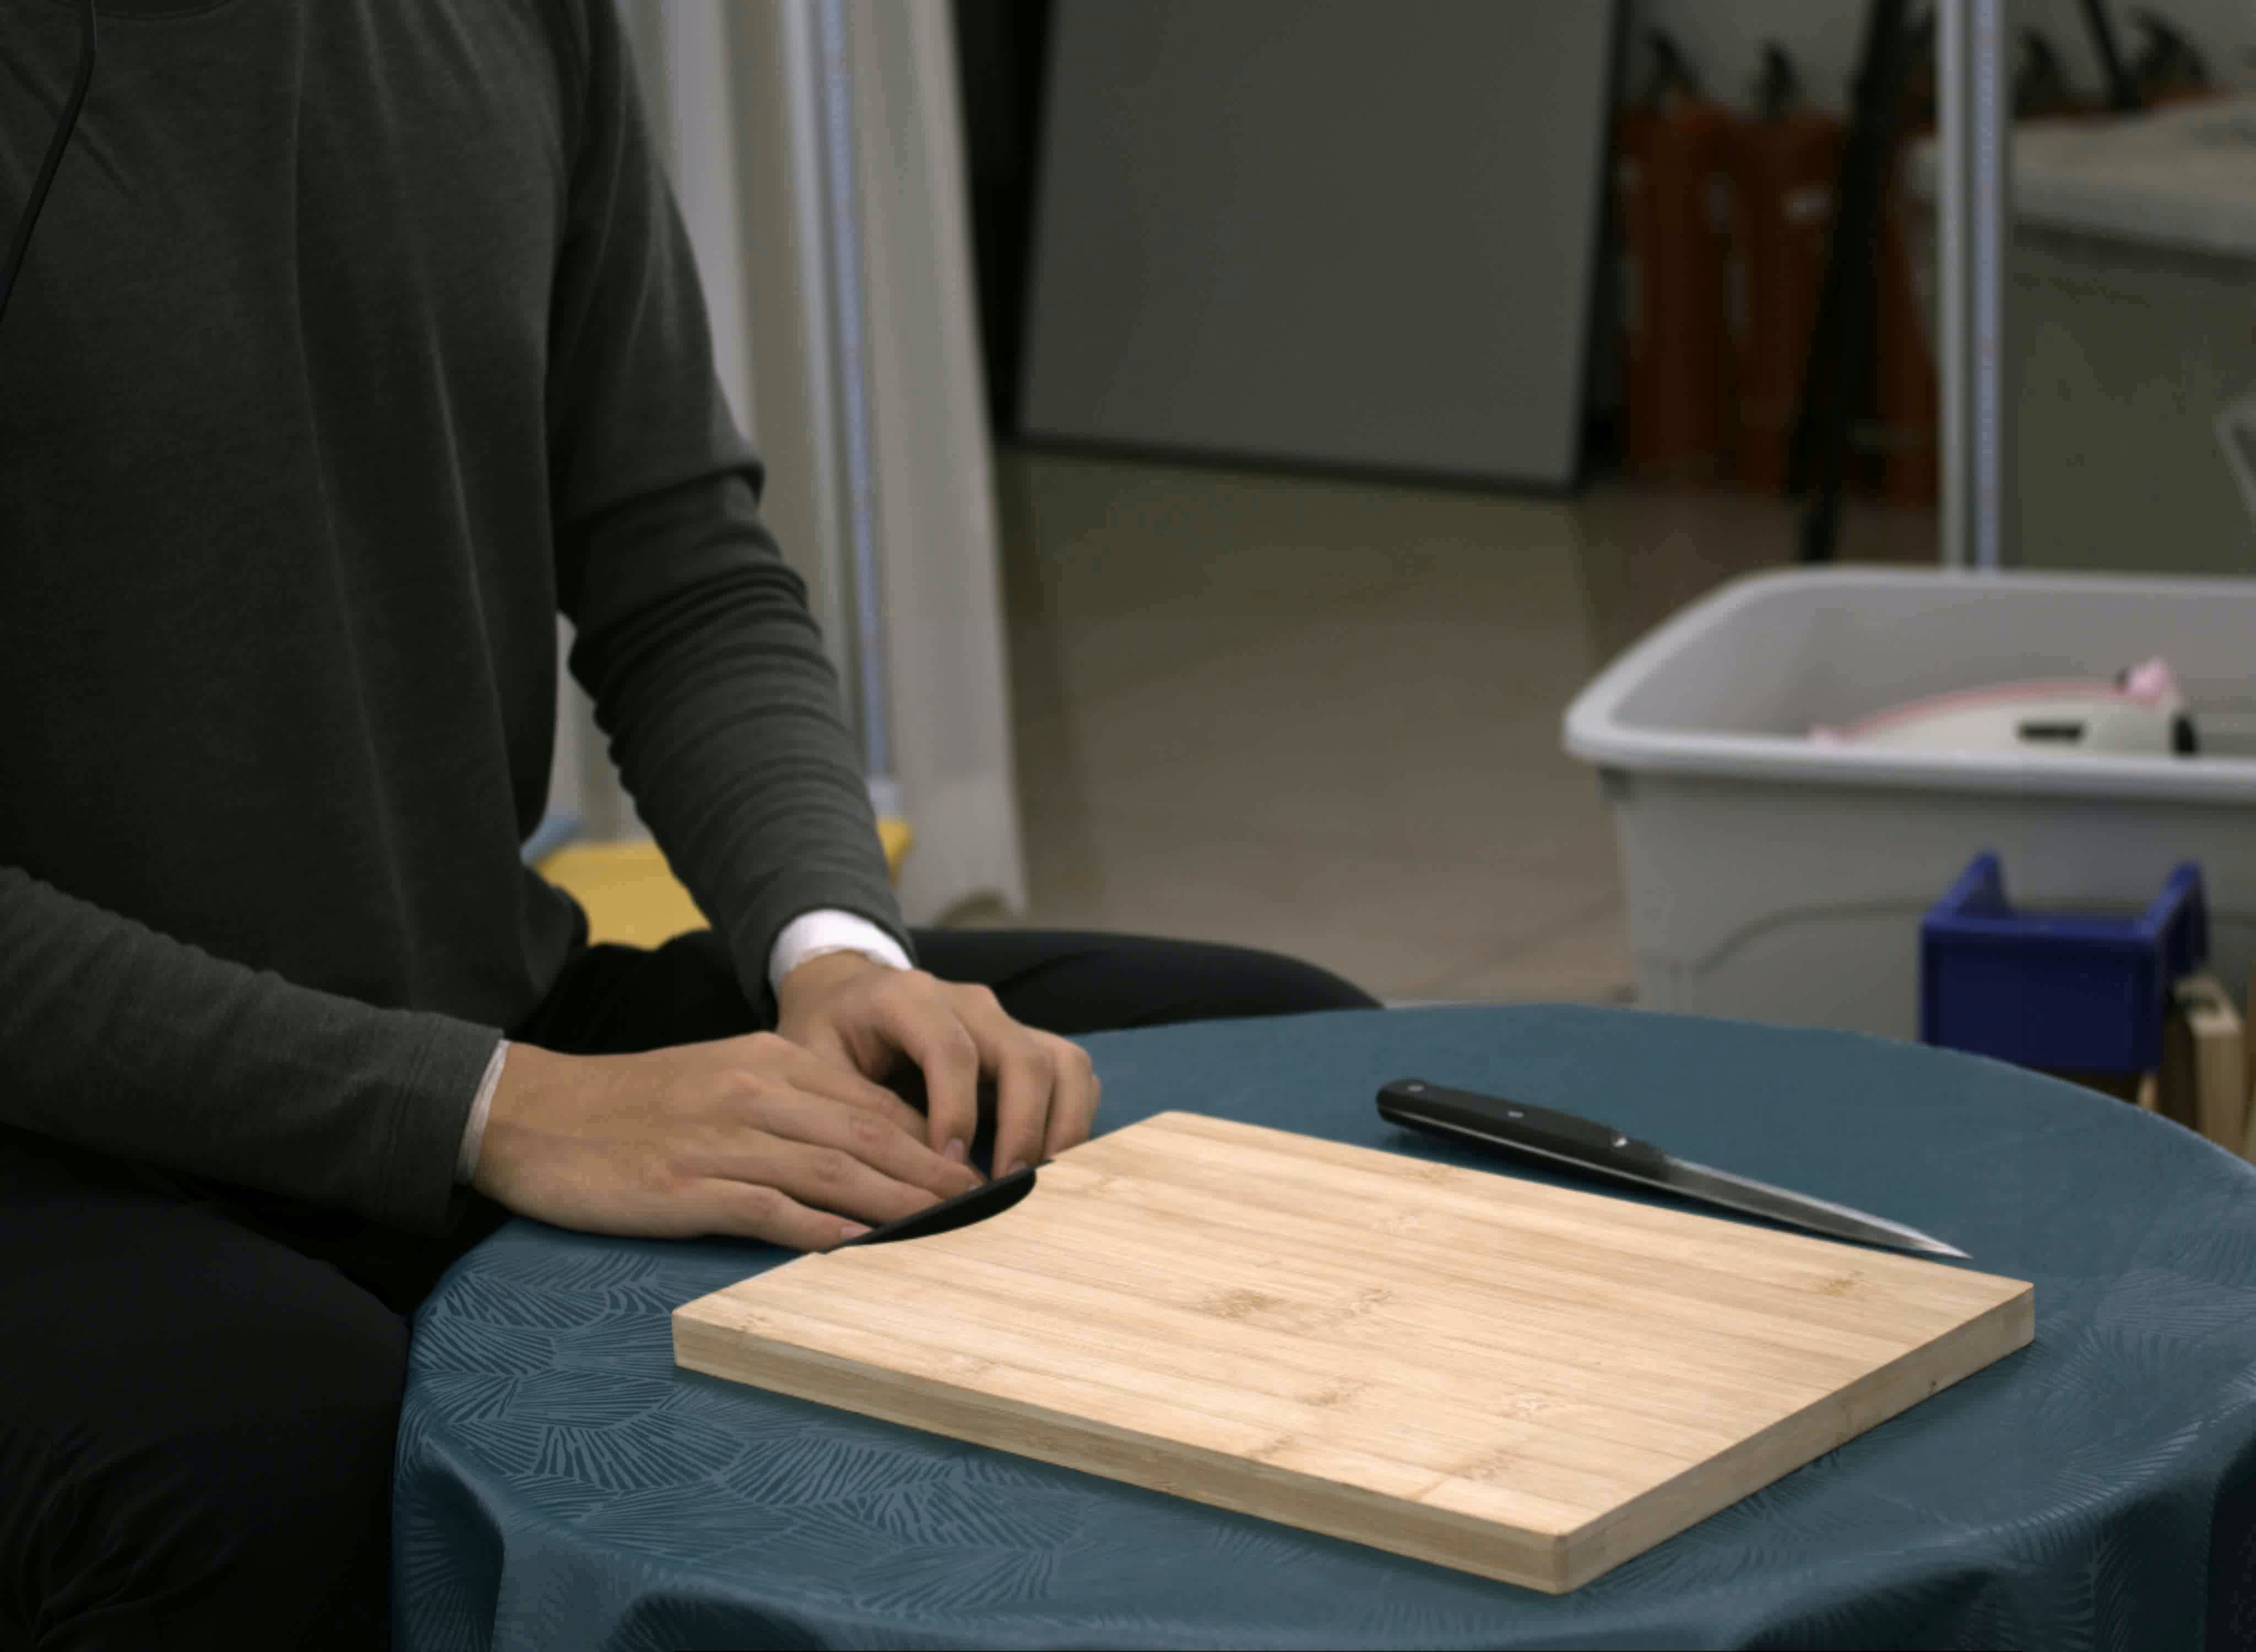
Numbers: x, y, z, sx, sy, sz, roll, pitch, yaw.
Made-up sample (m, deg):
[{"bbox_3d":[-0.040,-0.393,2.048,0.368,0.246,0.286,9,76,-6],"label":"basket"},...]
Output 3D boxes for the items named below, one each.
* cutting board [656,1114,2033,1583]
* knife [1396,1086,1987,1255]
[{"bbox_3d":[0.061,0.149,1.609,0.351,0.024,0.246,8,17,41],"label":"cutting board"},{"bbox_3d":[0.176,0.113,1.732,0.240,0.016,0.024,12,22,43],"label":"knife"}]
